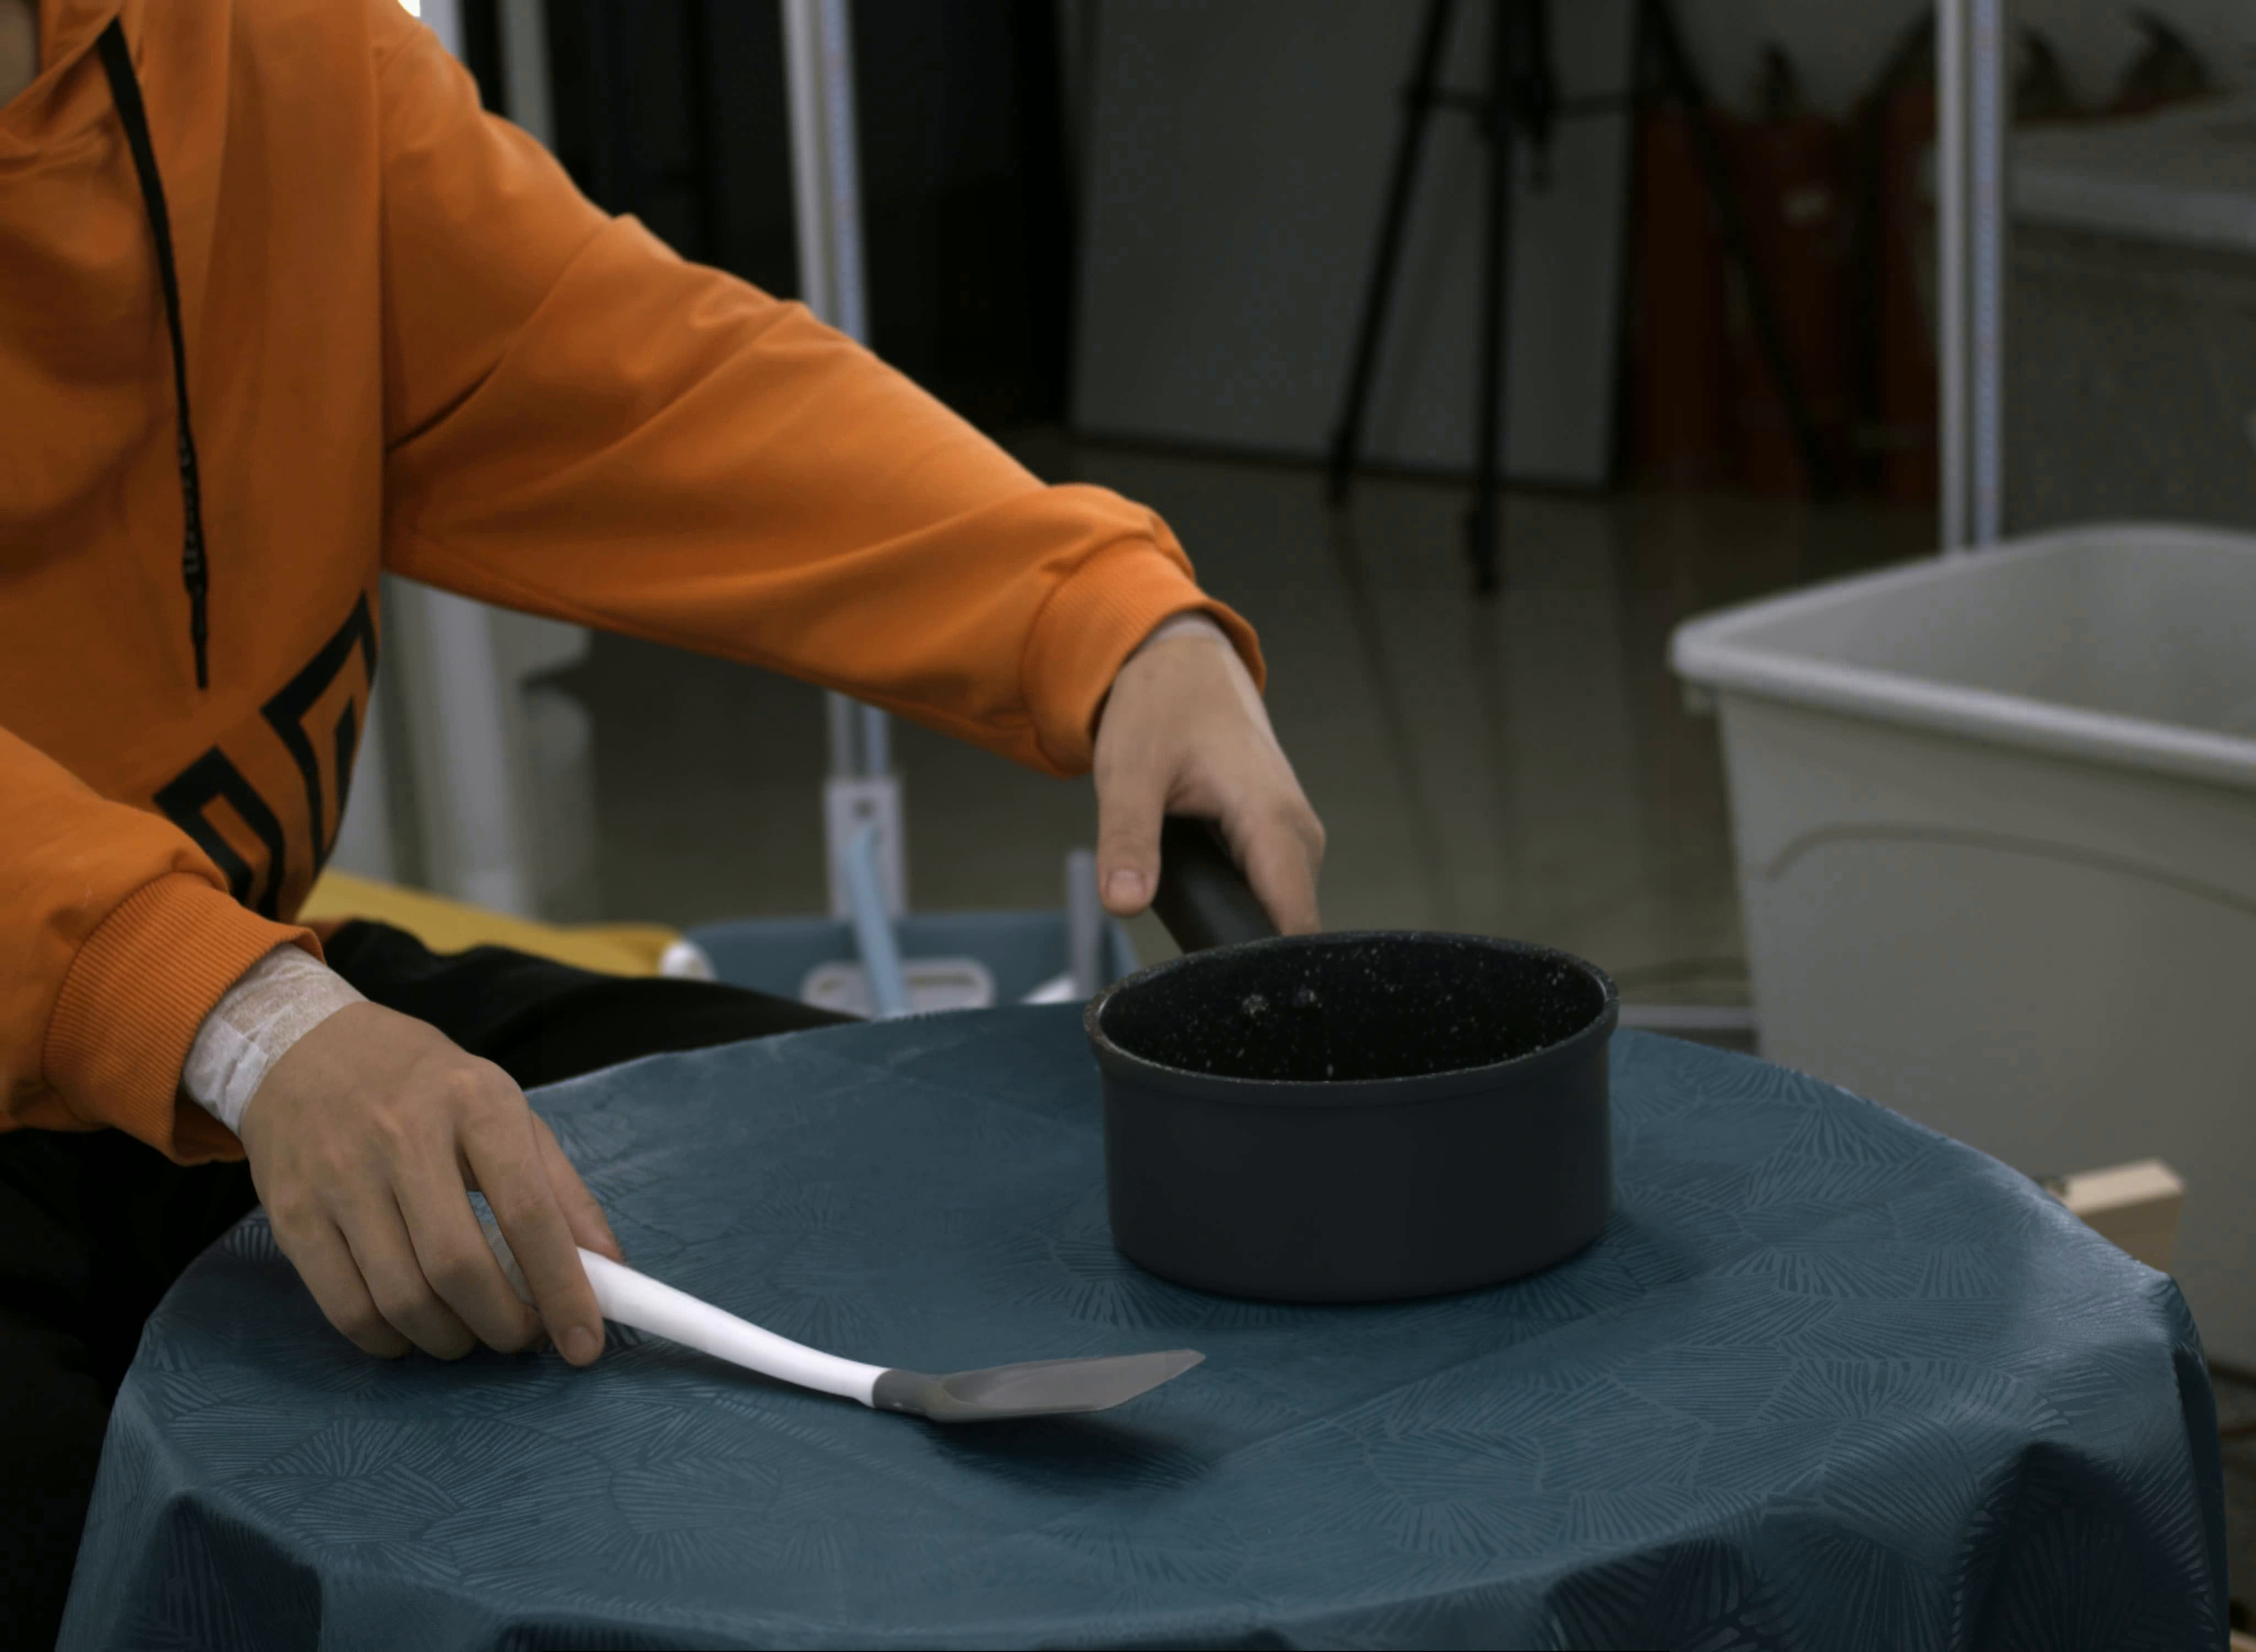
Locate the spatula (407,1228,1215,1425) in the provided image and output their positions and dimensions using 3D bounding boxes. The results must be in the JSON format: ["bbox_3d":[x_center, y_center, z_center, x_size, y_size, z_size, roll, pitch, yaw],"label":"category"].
[{"bbox_3d":[-0.100,0.153,1.606,0.289,0.032,0.057,6,14,37],"label":"spatula"}]

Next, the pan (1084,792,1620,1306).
[{"bbox_3d":[0.055,0.070,1.784,0.169,0.087,0.331,-6,15,-11],"label":"pan"}]
